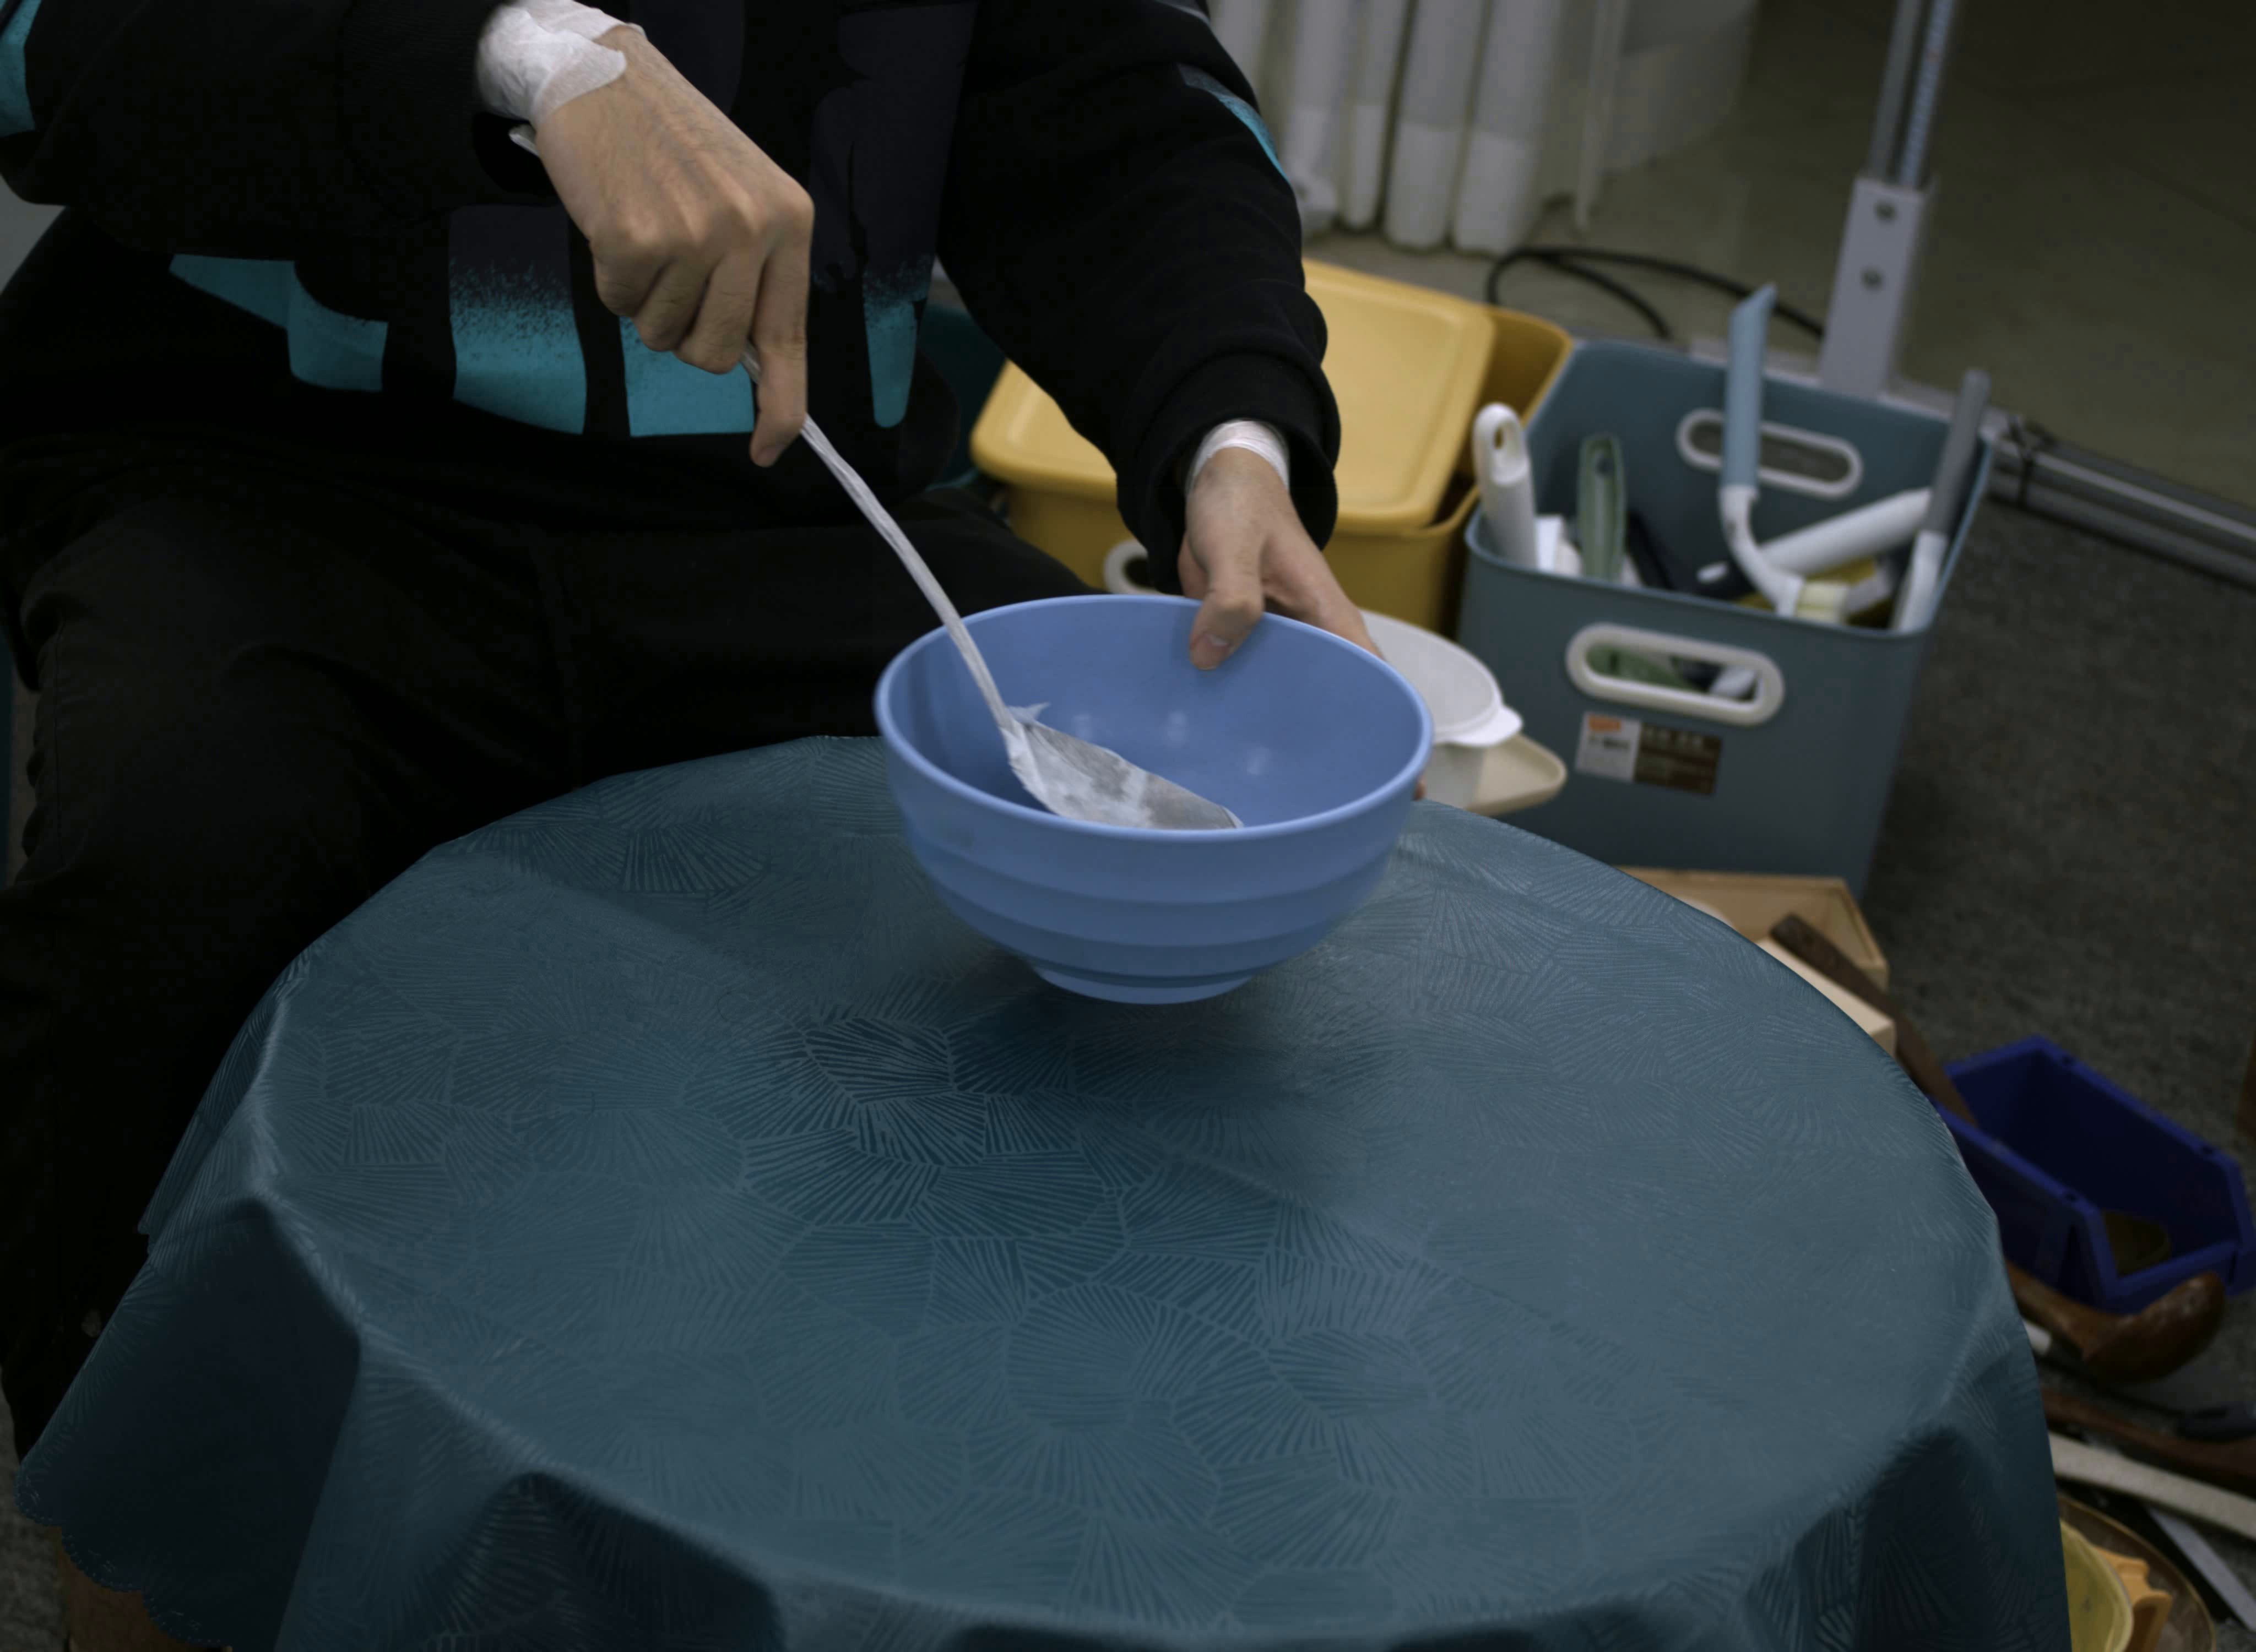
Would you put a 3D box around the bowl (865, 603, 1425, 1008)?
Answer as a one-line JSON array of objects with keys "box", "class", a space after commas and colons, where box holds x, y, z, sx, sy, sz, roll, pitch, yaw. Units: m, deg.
[{"box": [0.005, 0.002, 1.882, 0.196, 0.095, 0.197, 1, 26, -1], "class": "bowl"}]

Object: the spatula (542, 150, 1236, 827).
[{"box": [-0.079, -0.106, 1.881, 0.364, 0.045, 0.099, 51, 16, -8], "class": "spatula"}]
